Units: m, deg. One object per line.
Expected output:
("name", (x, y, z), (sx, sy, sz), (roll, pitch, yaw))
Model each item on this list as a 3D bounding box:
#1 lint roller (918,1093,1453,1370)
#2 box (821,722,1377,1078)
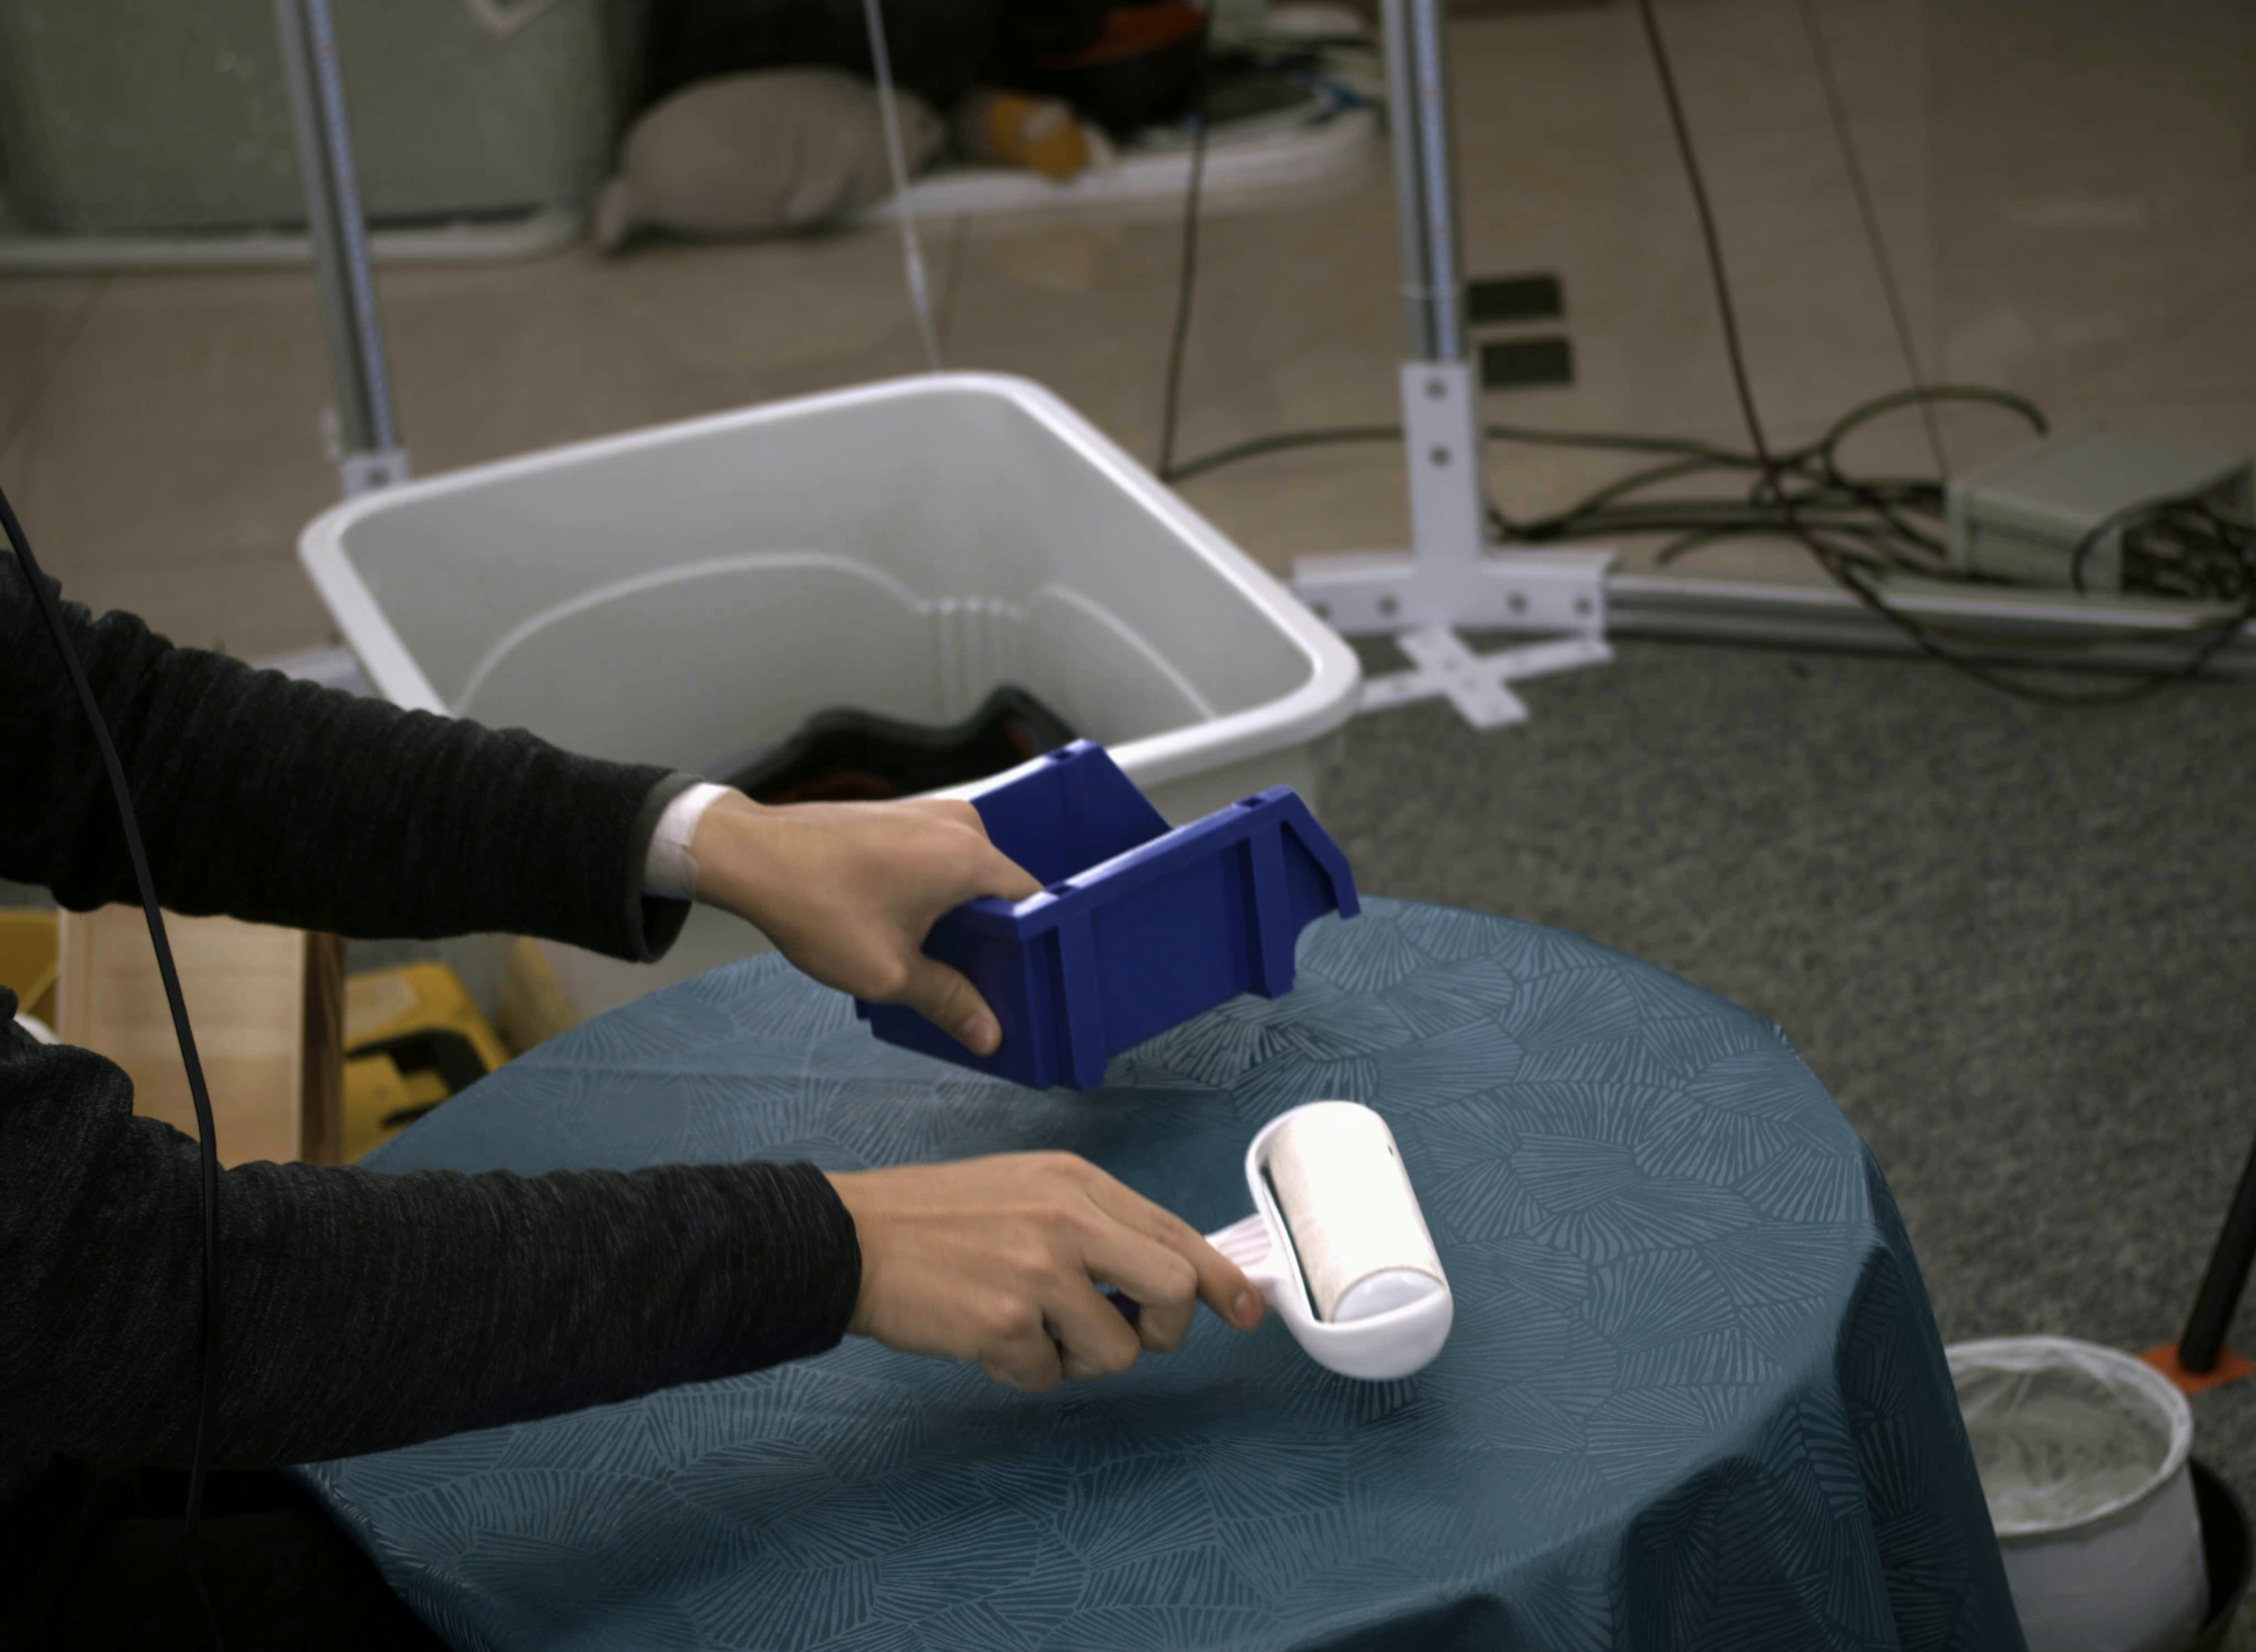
("lint roller", (0.016, 0.146, 1.986), (0.180, 0.051, 0.130), (-3, 34, -9))
("box", (-0.011, 0.024, 2.209), (0.178, 0.083, 0.123), (-27, 28, -36))
